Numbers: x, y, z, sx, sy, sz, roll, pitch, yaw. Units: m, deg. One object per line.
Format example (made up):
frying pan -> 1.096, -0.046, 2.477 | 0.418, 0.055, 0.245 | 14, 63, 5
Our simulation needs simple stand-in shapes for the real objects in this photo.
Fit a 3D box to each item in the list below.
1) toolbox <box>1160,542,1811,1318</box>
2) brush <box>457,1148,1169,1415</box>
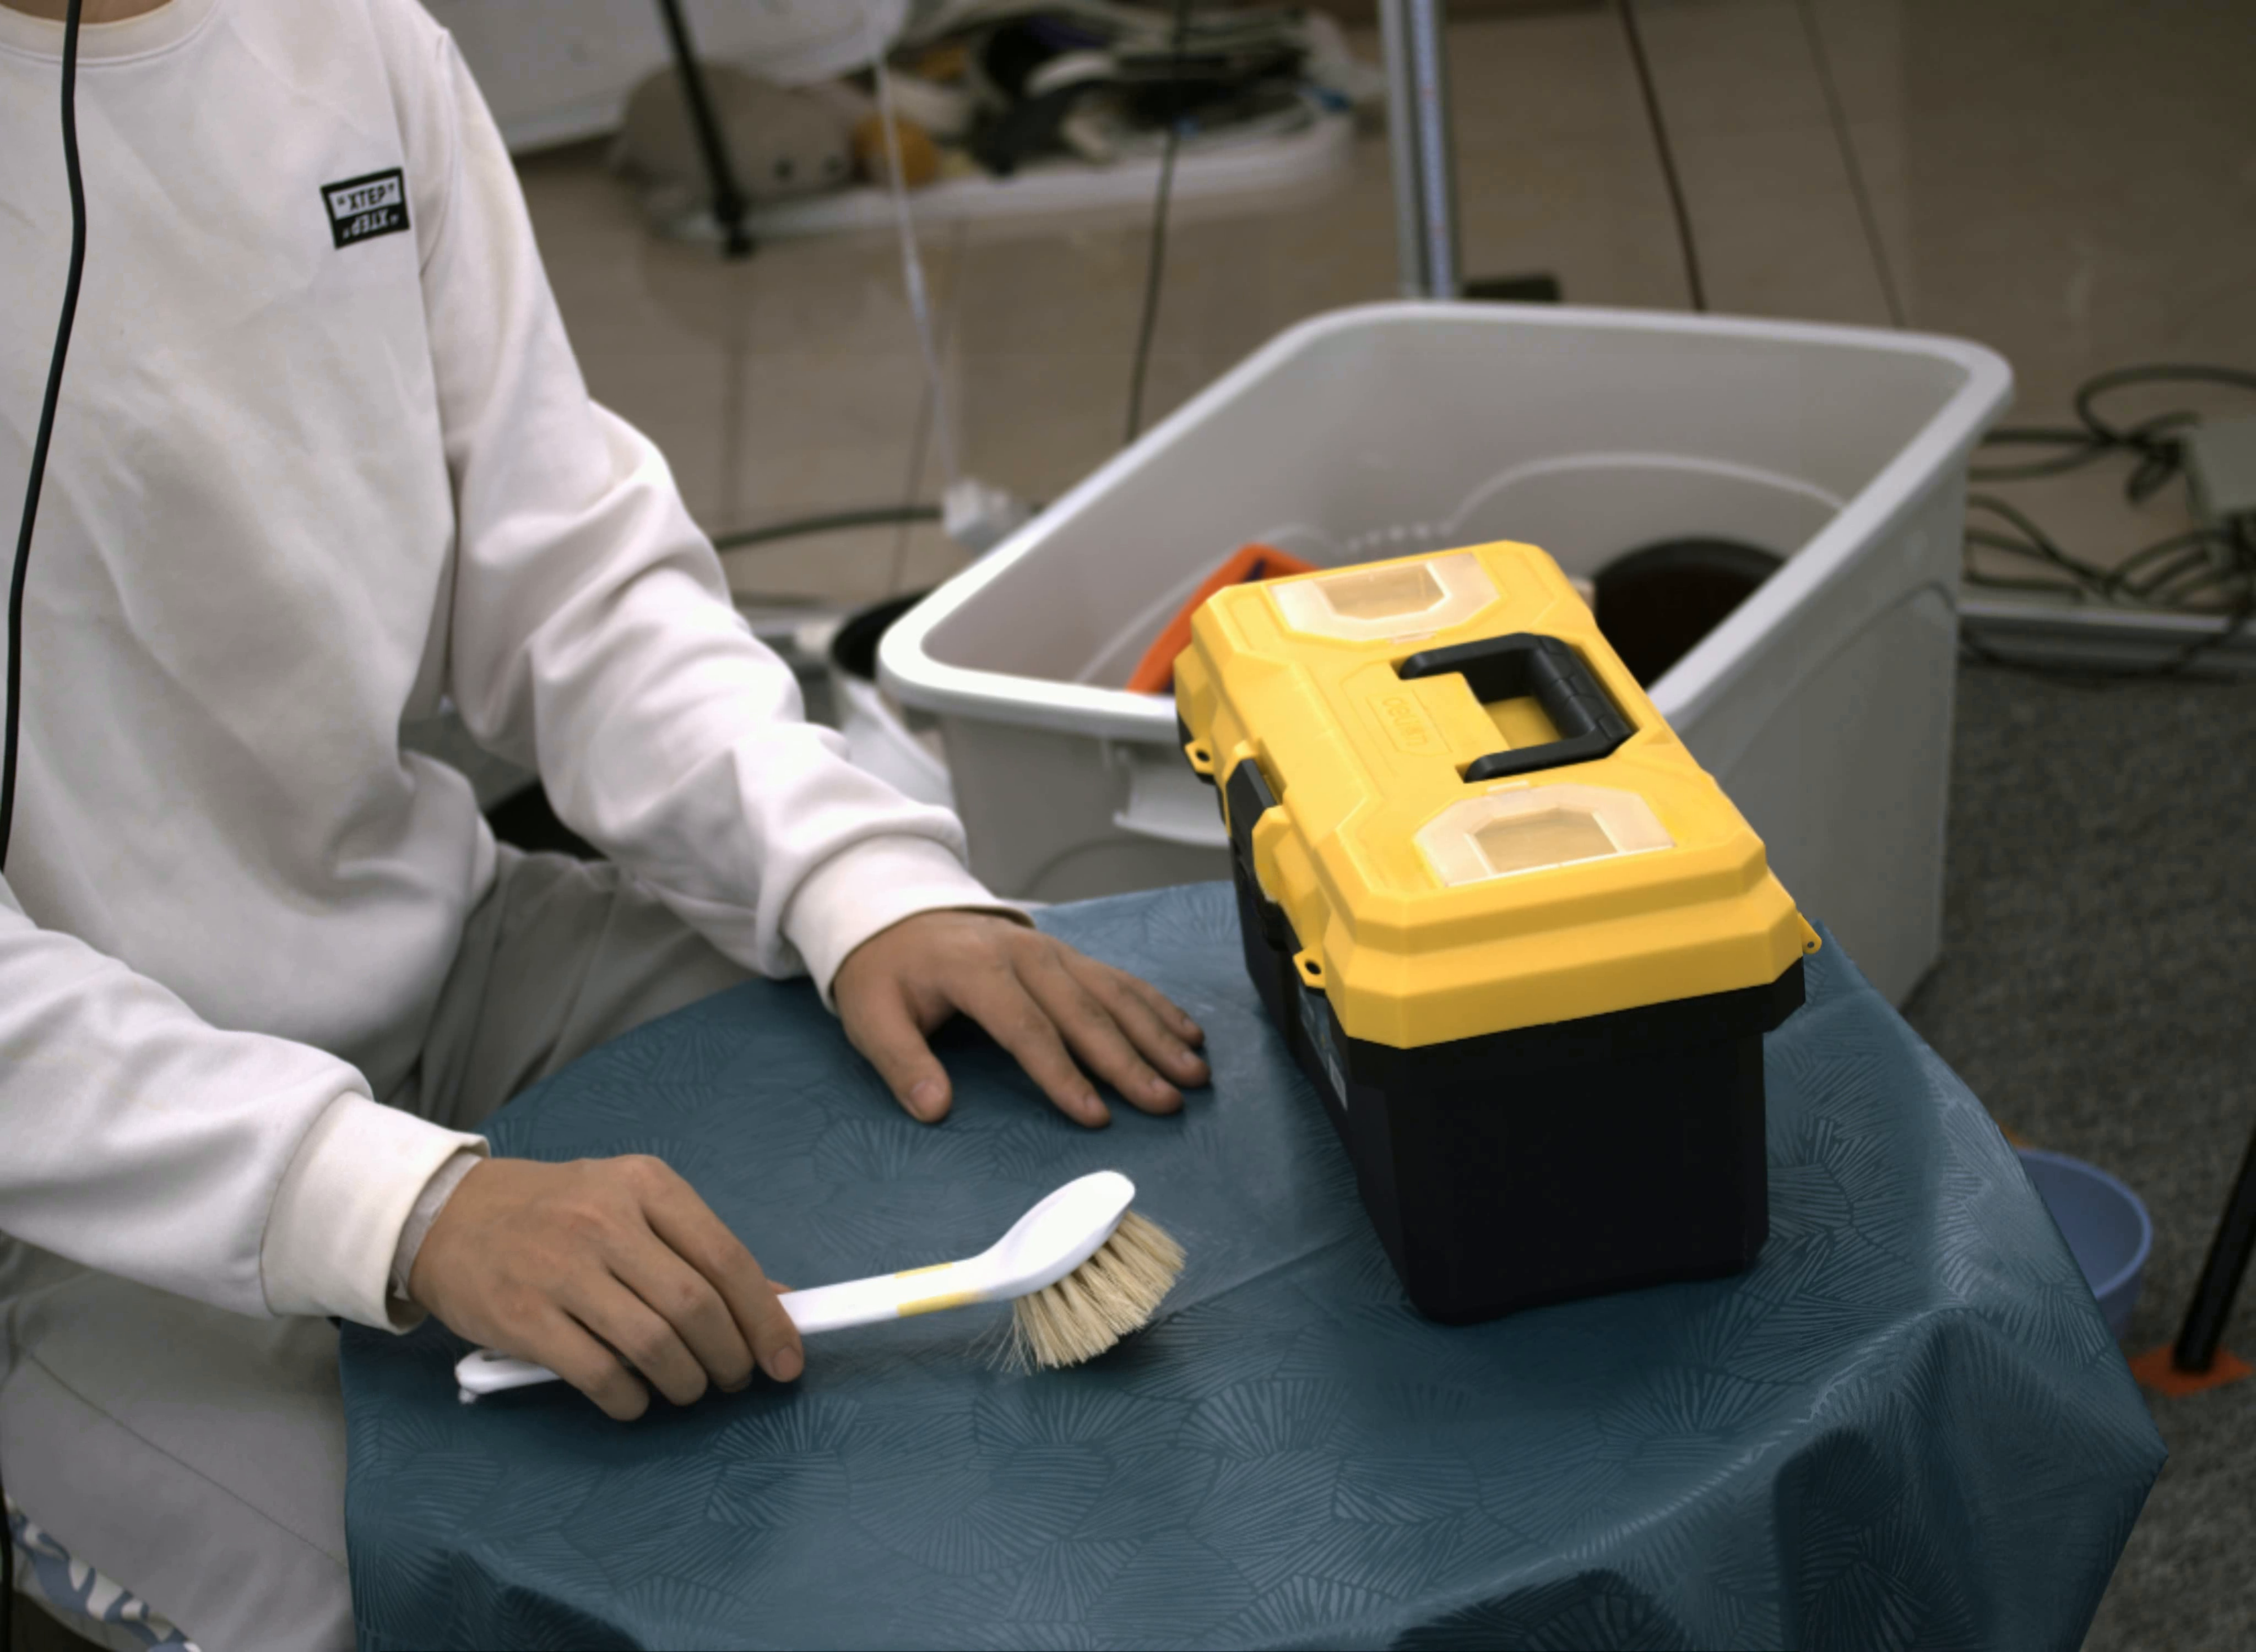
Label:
toolbox -> 0.130, 0.033, 2.134 | 0.181, 0.175, 0.346 | -9, 24, -7
brush -> -0.111, 0.186, 2.055 | 0.266, 0.056, 0.068 | -21, 6, 6
